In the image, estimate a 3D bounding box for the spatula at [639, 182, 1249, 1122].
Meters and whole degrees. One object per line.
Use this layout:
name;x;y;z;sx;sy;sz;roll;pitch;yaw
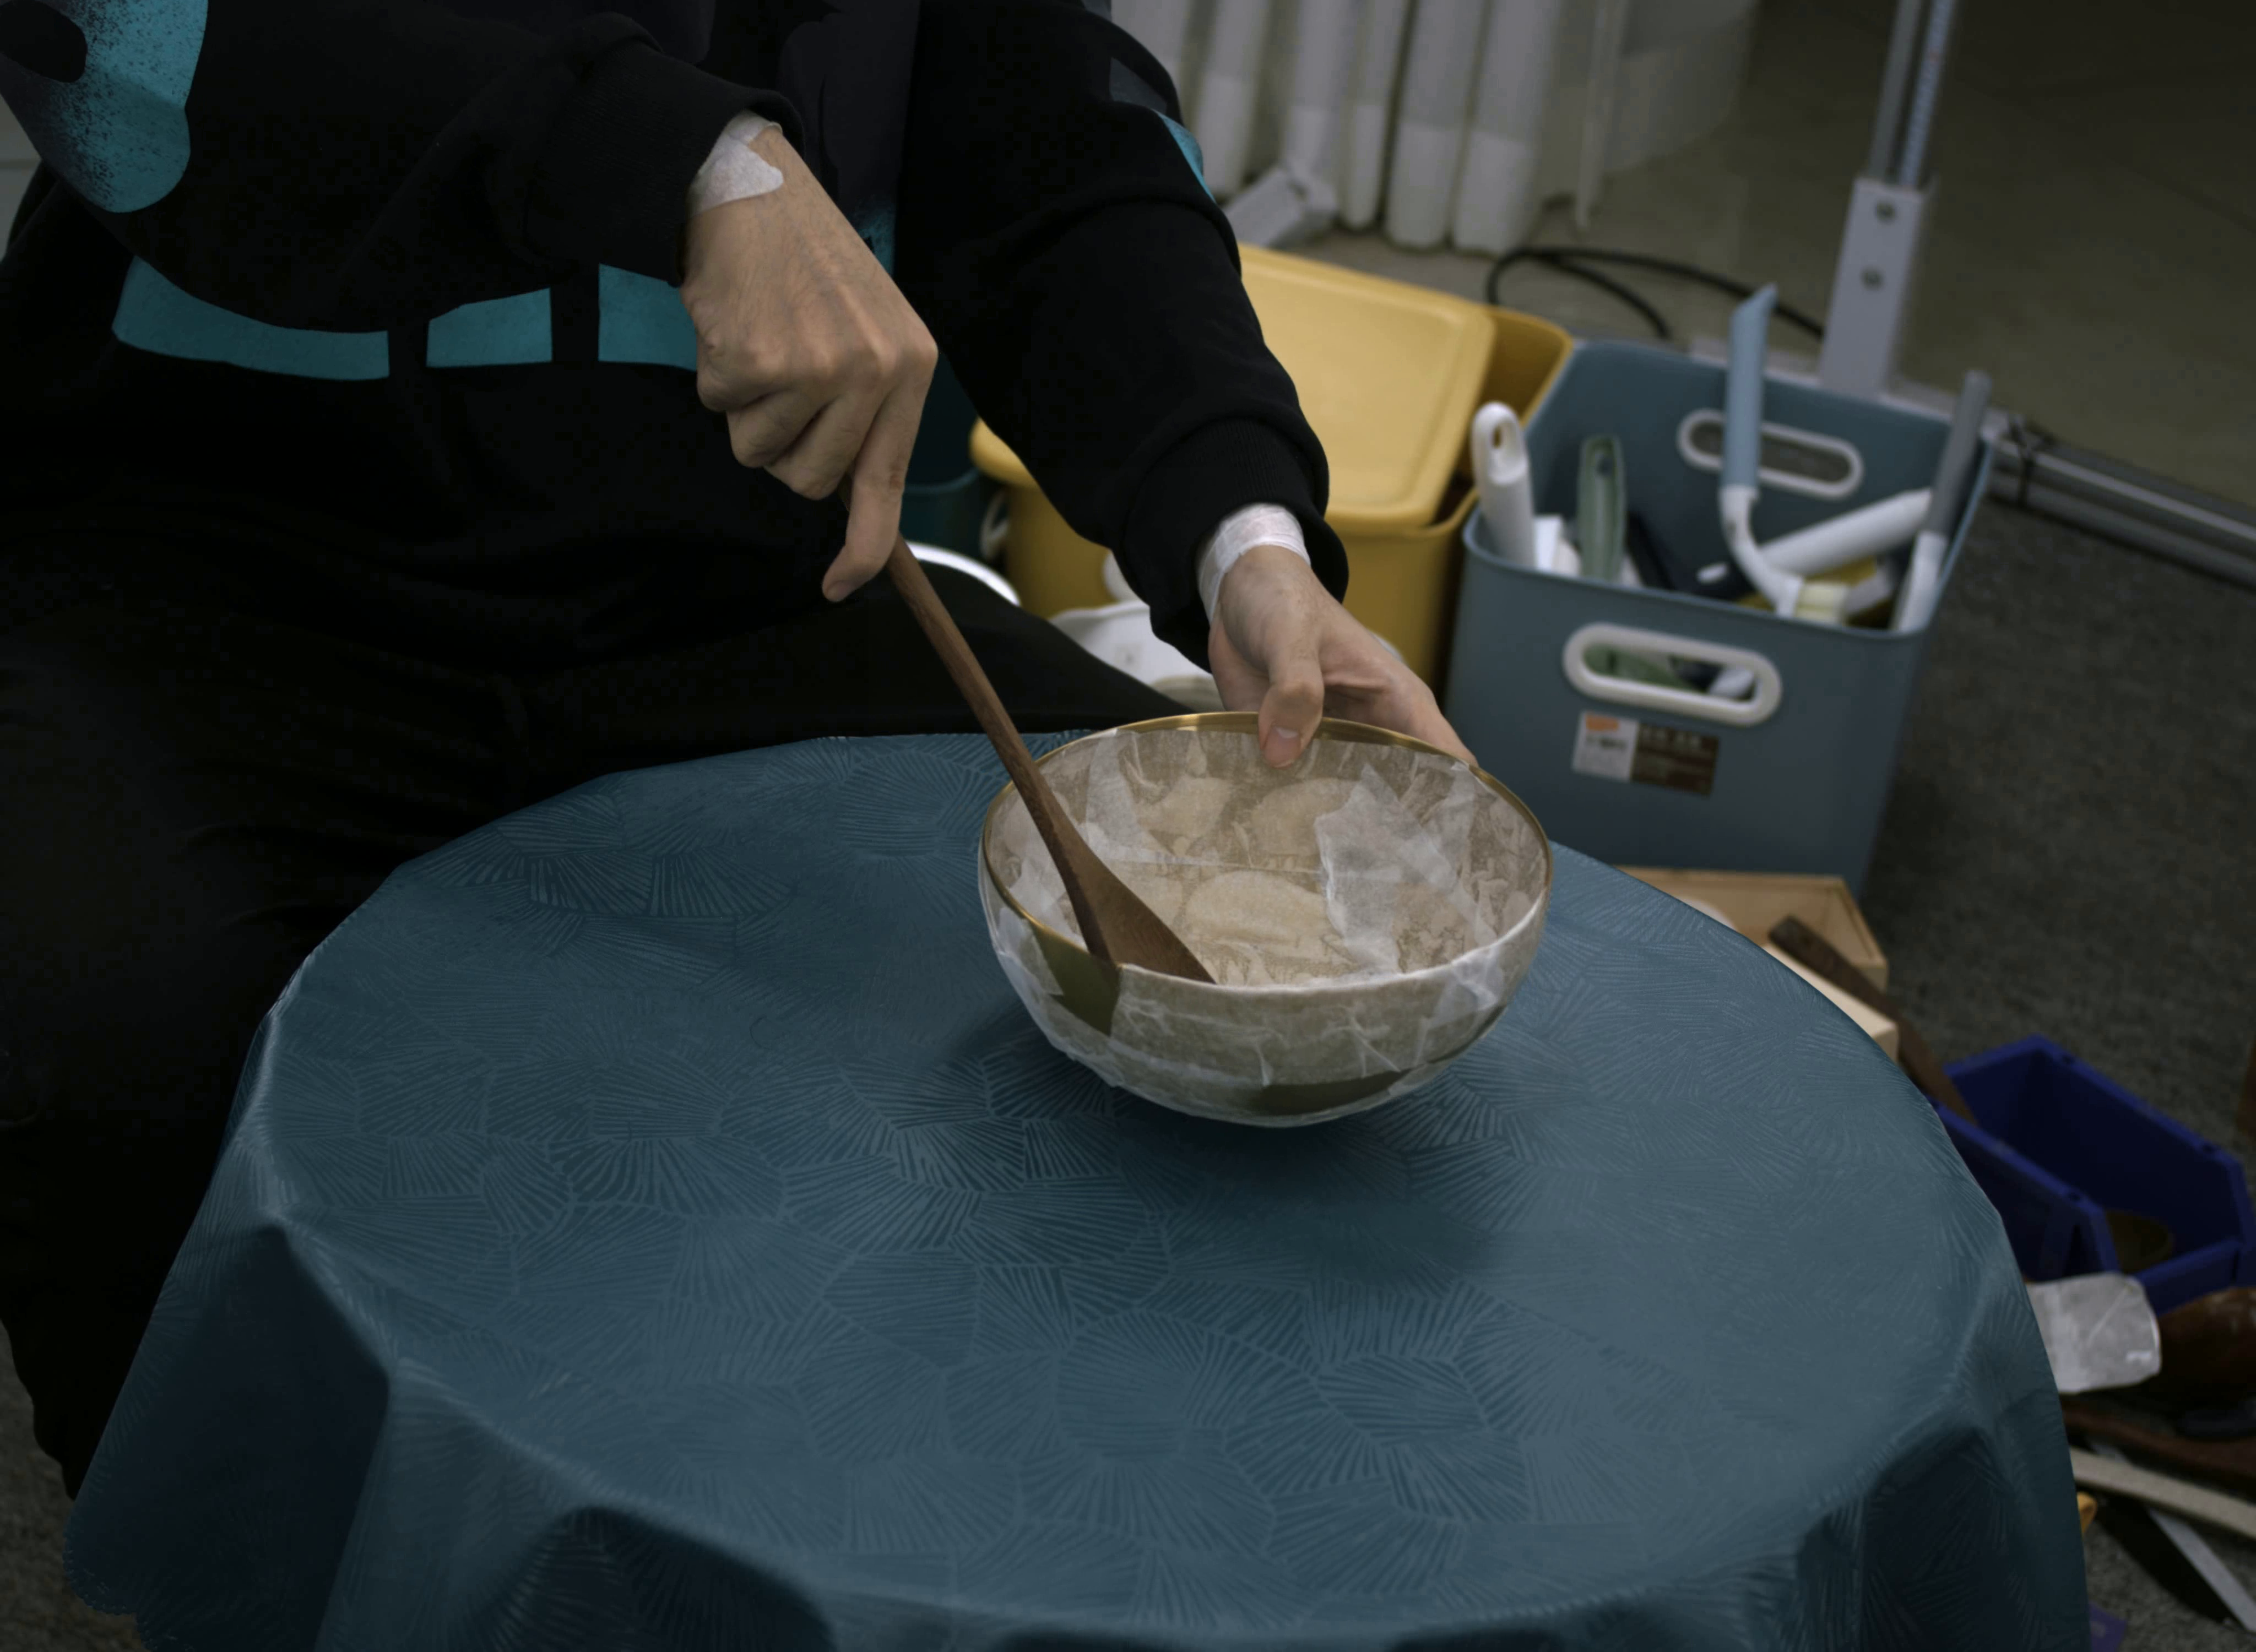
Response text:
spatula;-0.061;-0.062;1.842;0.016;0.386;0.096;-33;-2;16

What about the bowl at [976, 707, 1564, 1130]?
bowl;0.049;0.044;1.863;0.214;0.094;0.216;0;28;0
